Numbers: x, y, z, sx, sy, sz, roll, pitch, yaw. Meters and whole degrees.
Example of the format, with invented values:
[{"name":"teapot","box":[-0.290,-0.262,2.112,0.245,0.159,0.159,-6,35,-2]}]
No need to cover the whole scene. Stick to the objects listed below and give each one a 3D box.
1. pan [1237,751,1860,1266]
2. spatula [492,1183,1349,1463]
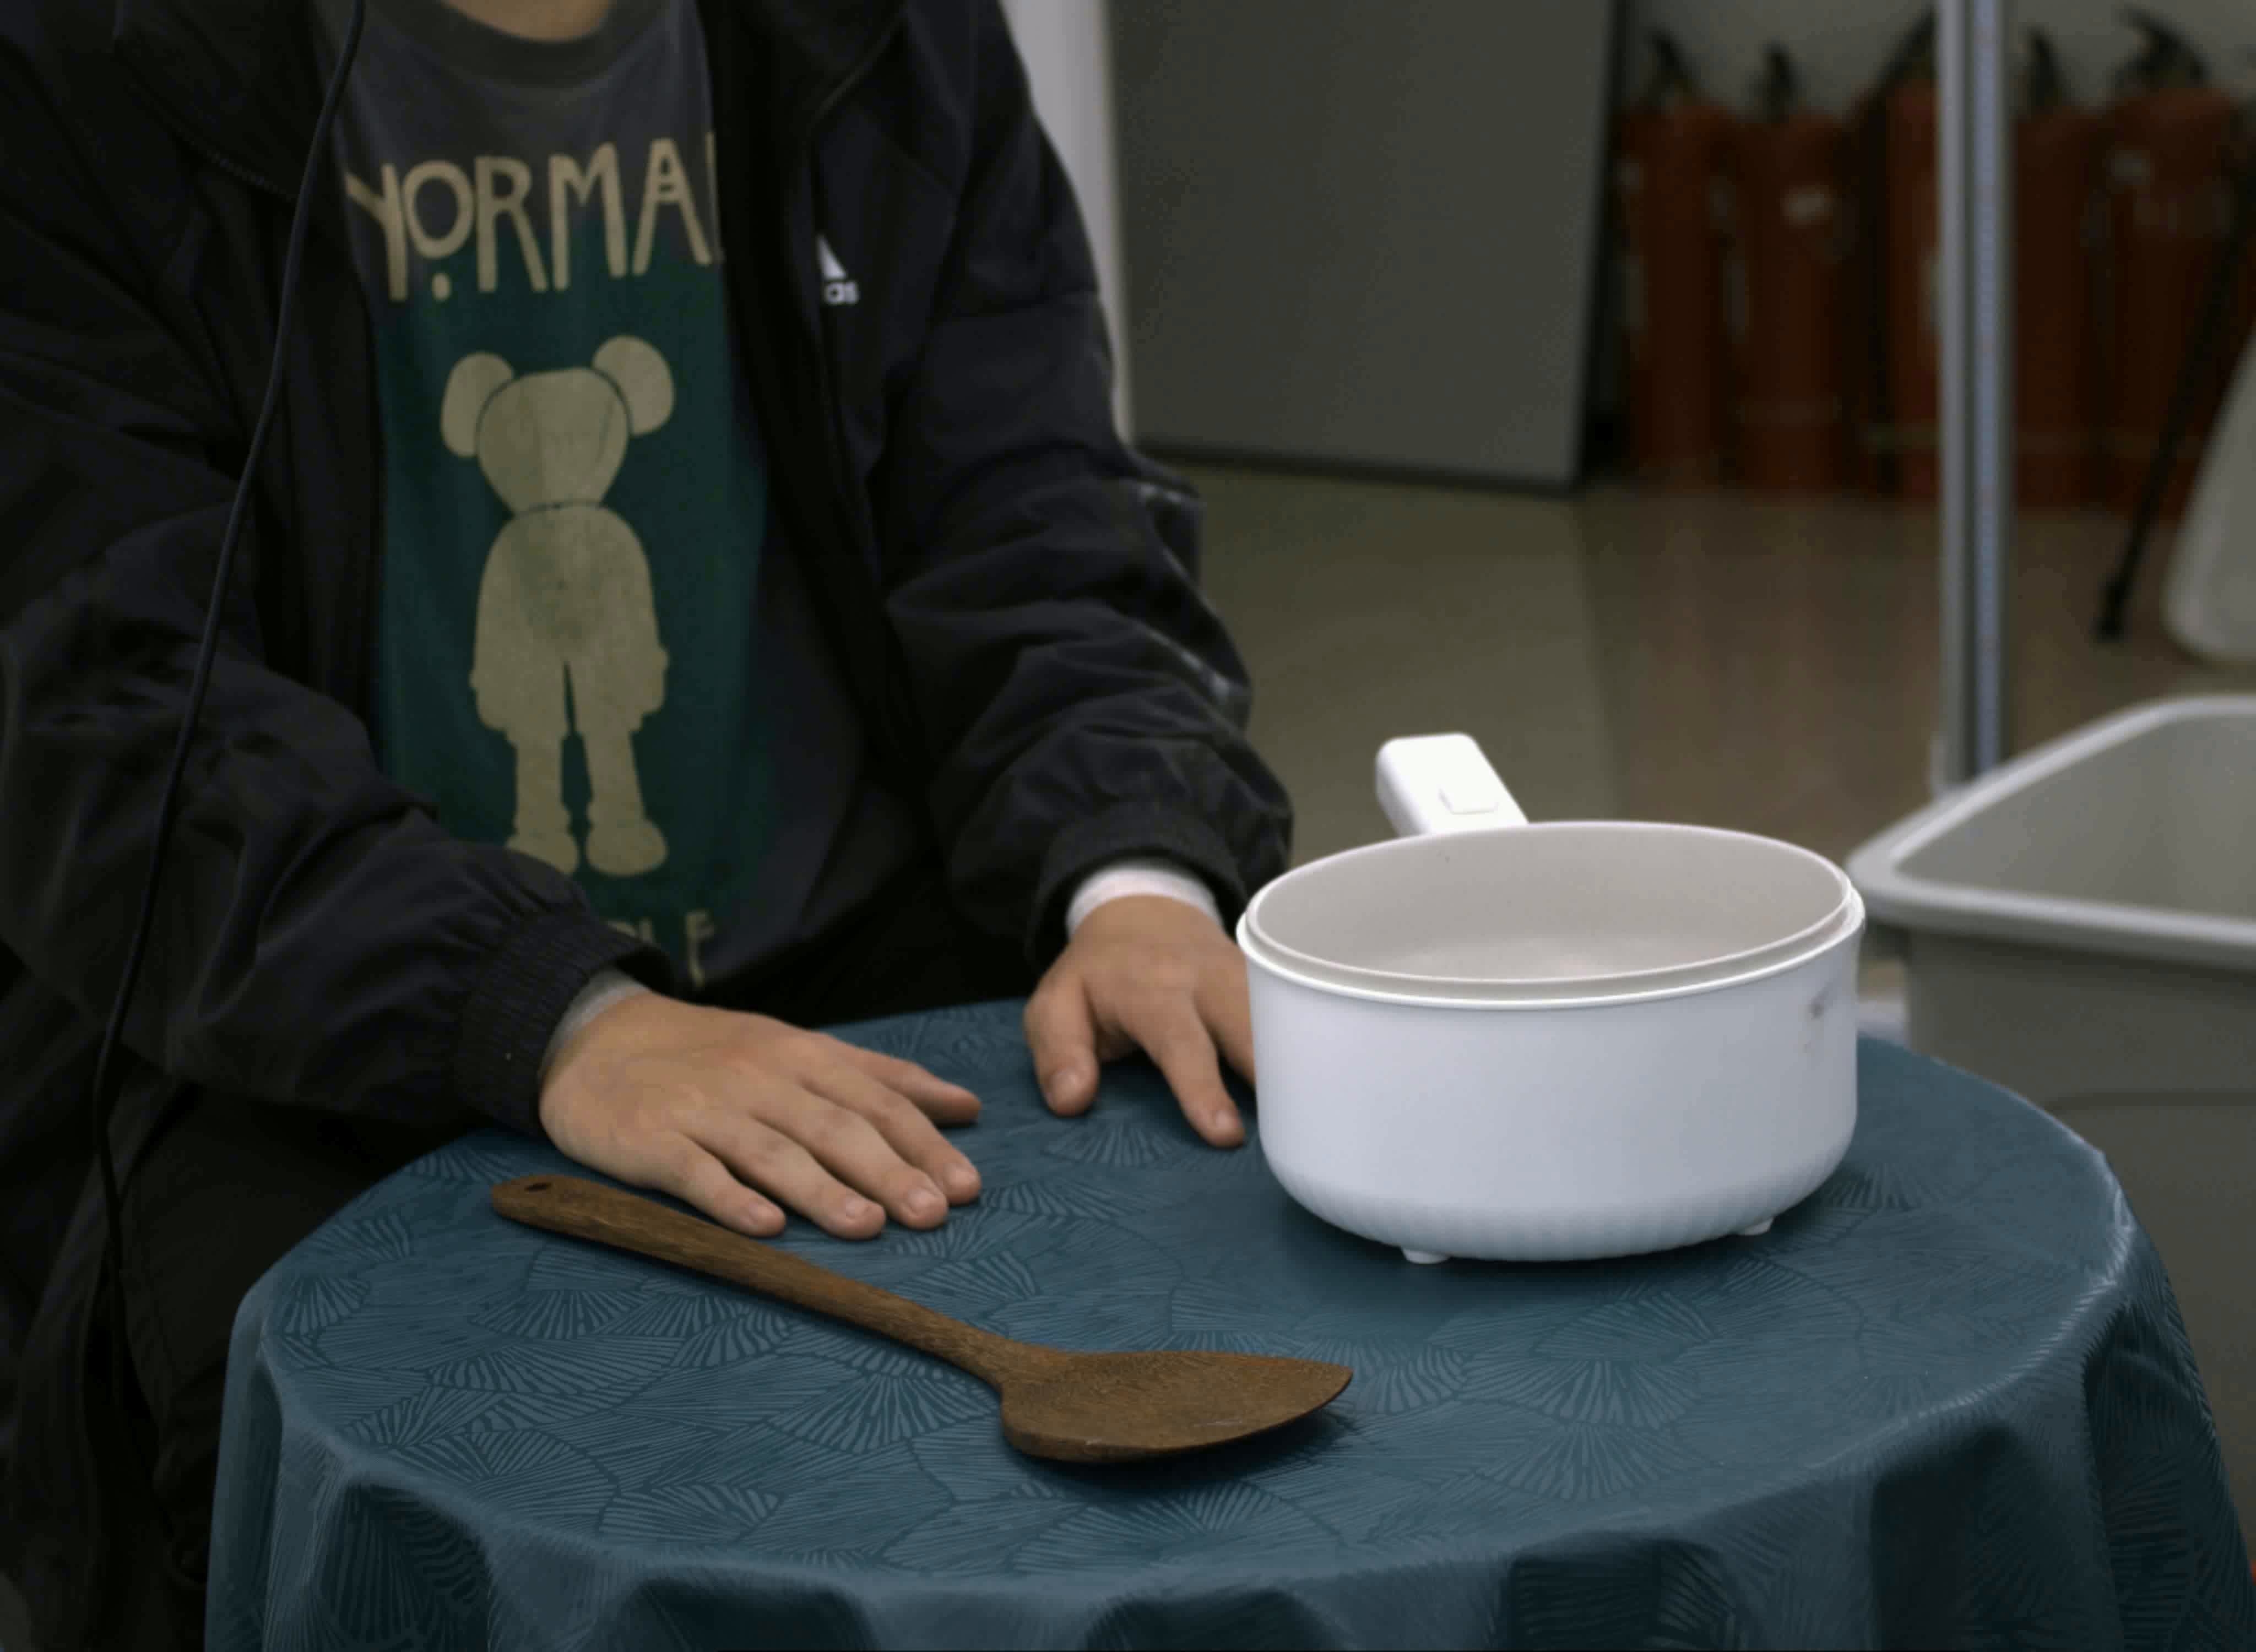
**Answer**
[{"name":"pan","box":[0.130,0.056,1.802,0.198,0.103,0.356,-6,12,-4]},{"name":"spatula","box":[-0.084,0.148,1.662,0.094,0.016,0.390,-14,16,-38]}]
